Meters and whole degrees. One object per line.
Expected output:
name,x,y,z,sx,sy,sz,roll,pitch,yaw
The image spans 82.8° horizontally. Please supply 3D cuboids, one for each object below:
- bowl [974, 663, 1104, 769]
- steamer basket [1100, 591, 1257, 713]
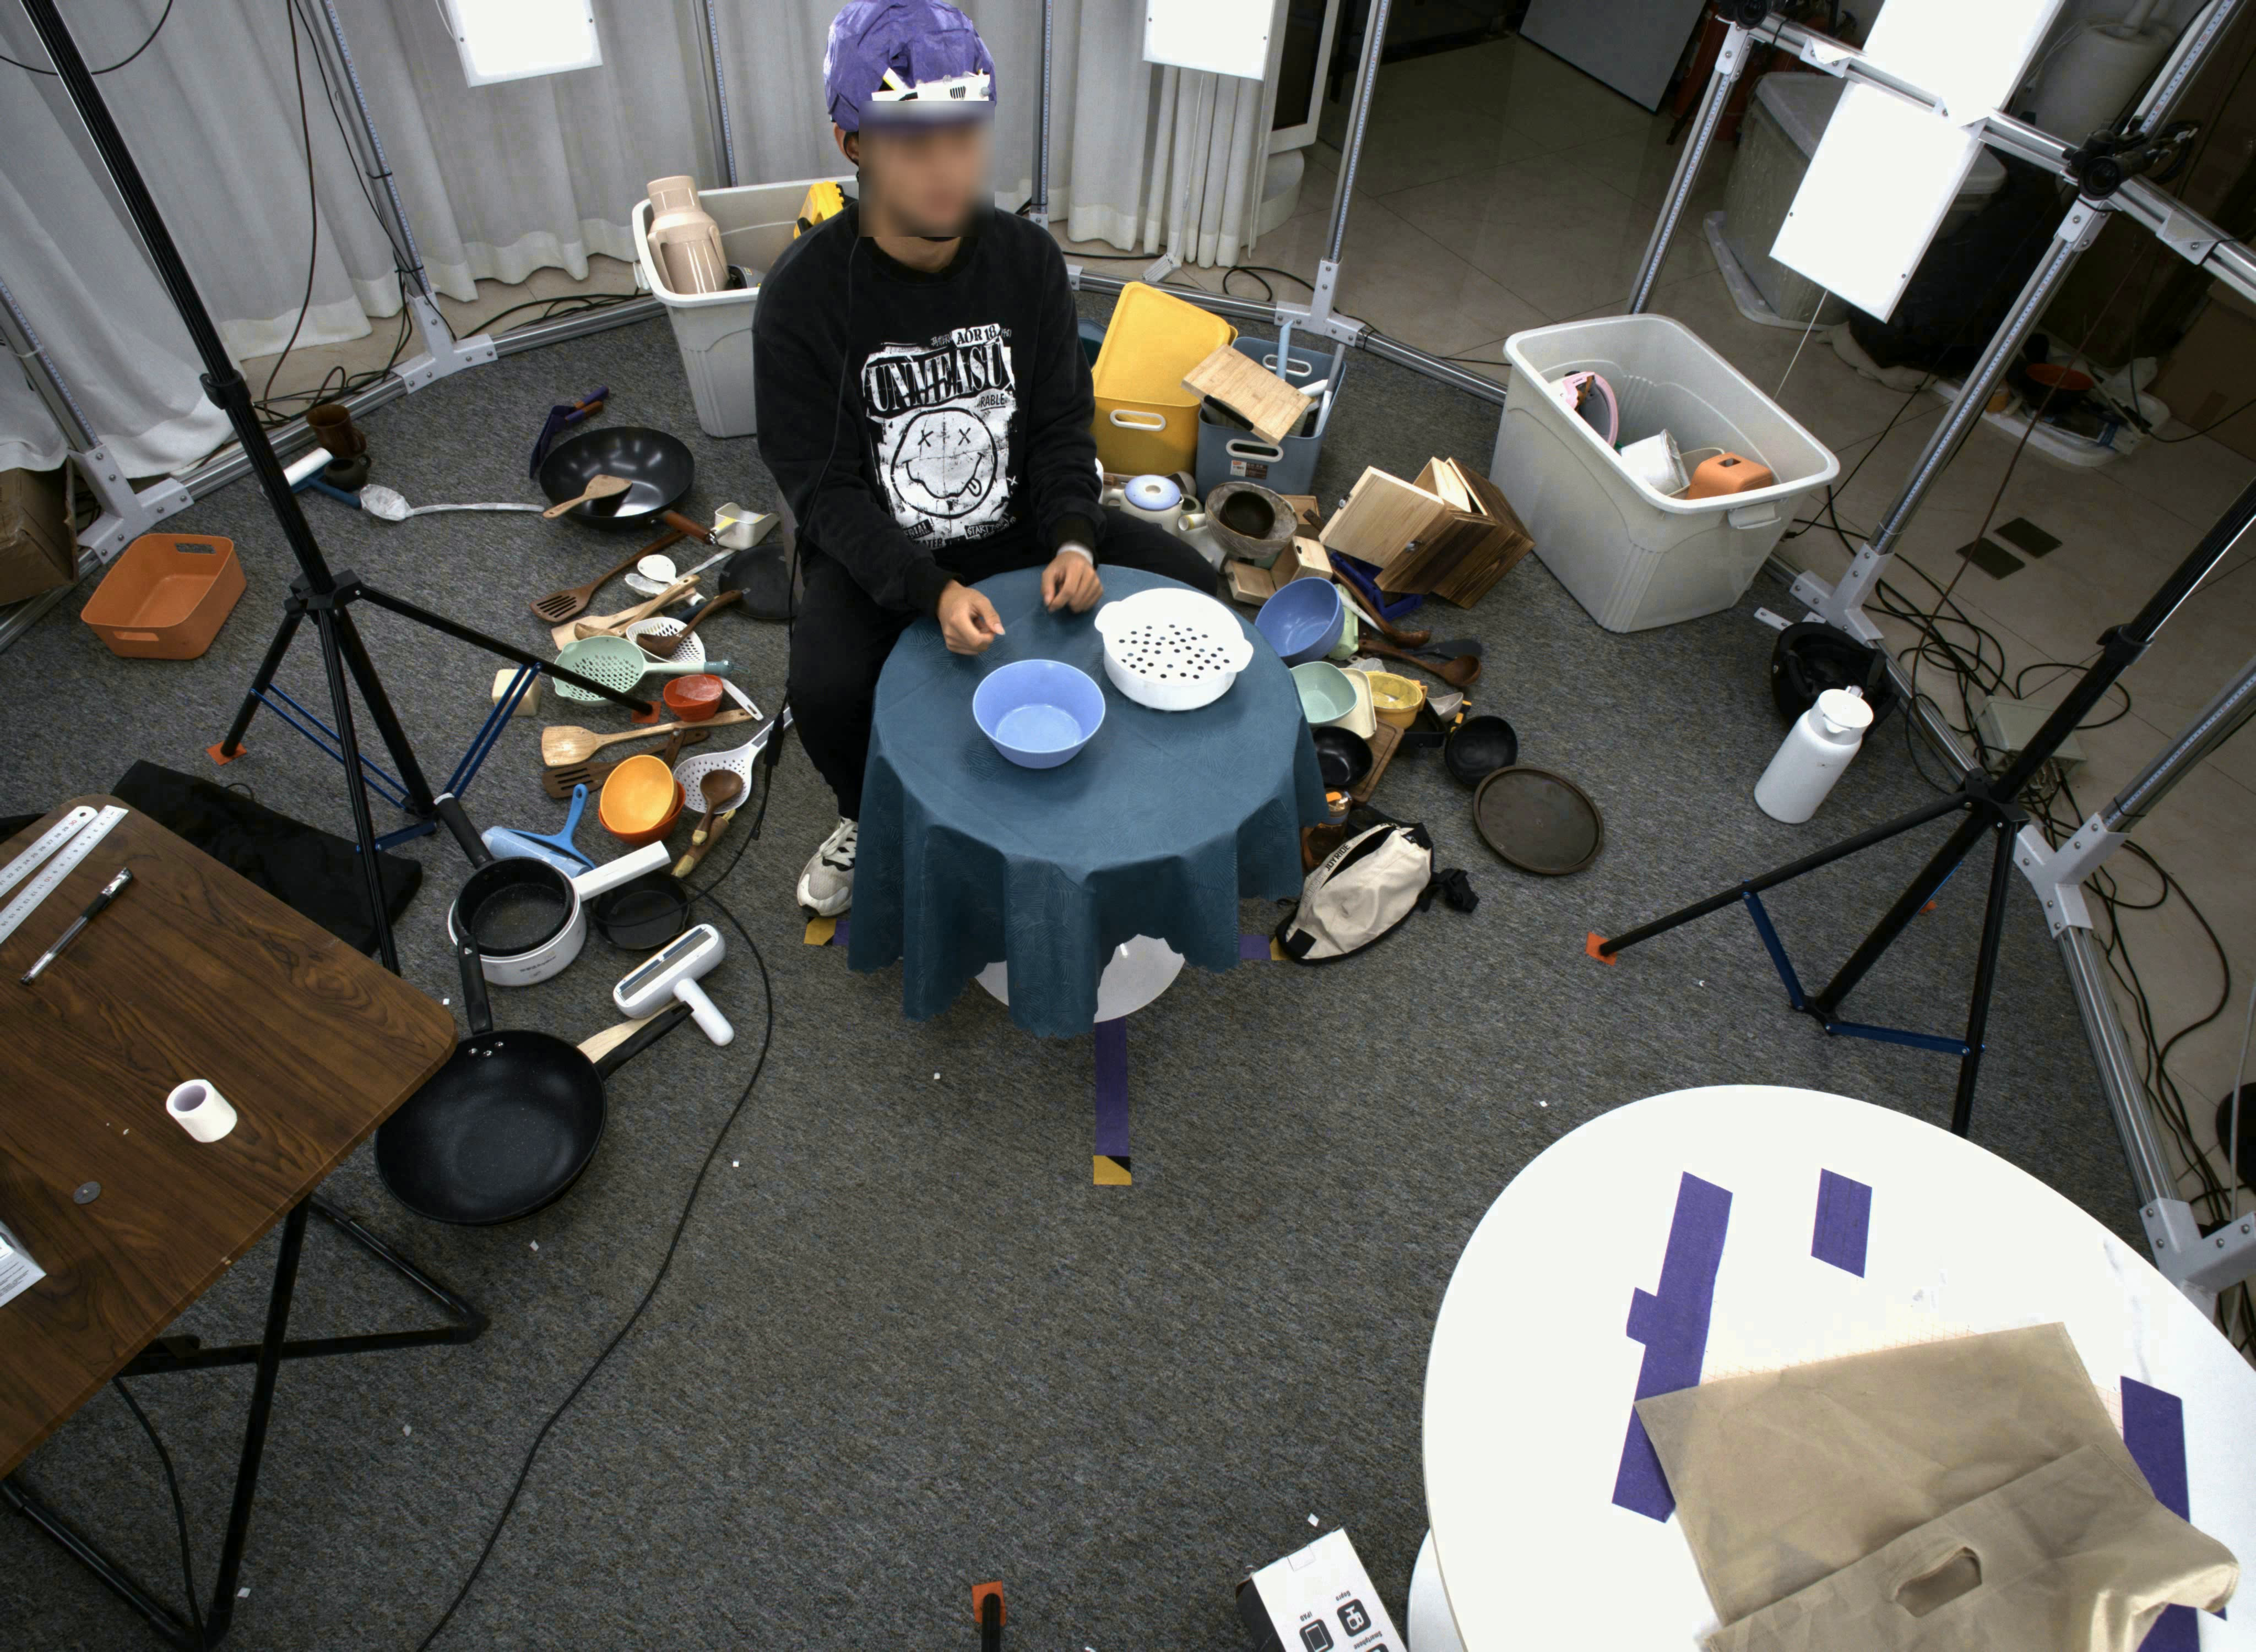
bowl,-0.122,-0.141,1.753,0.176,0.068,0.180,2,48,-3
steamer basket,0.069,-0.252,1.864,0.231,0.067,0.206,19,50,10
